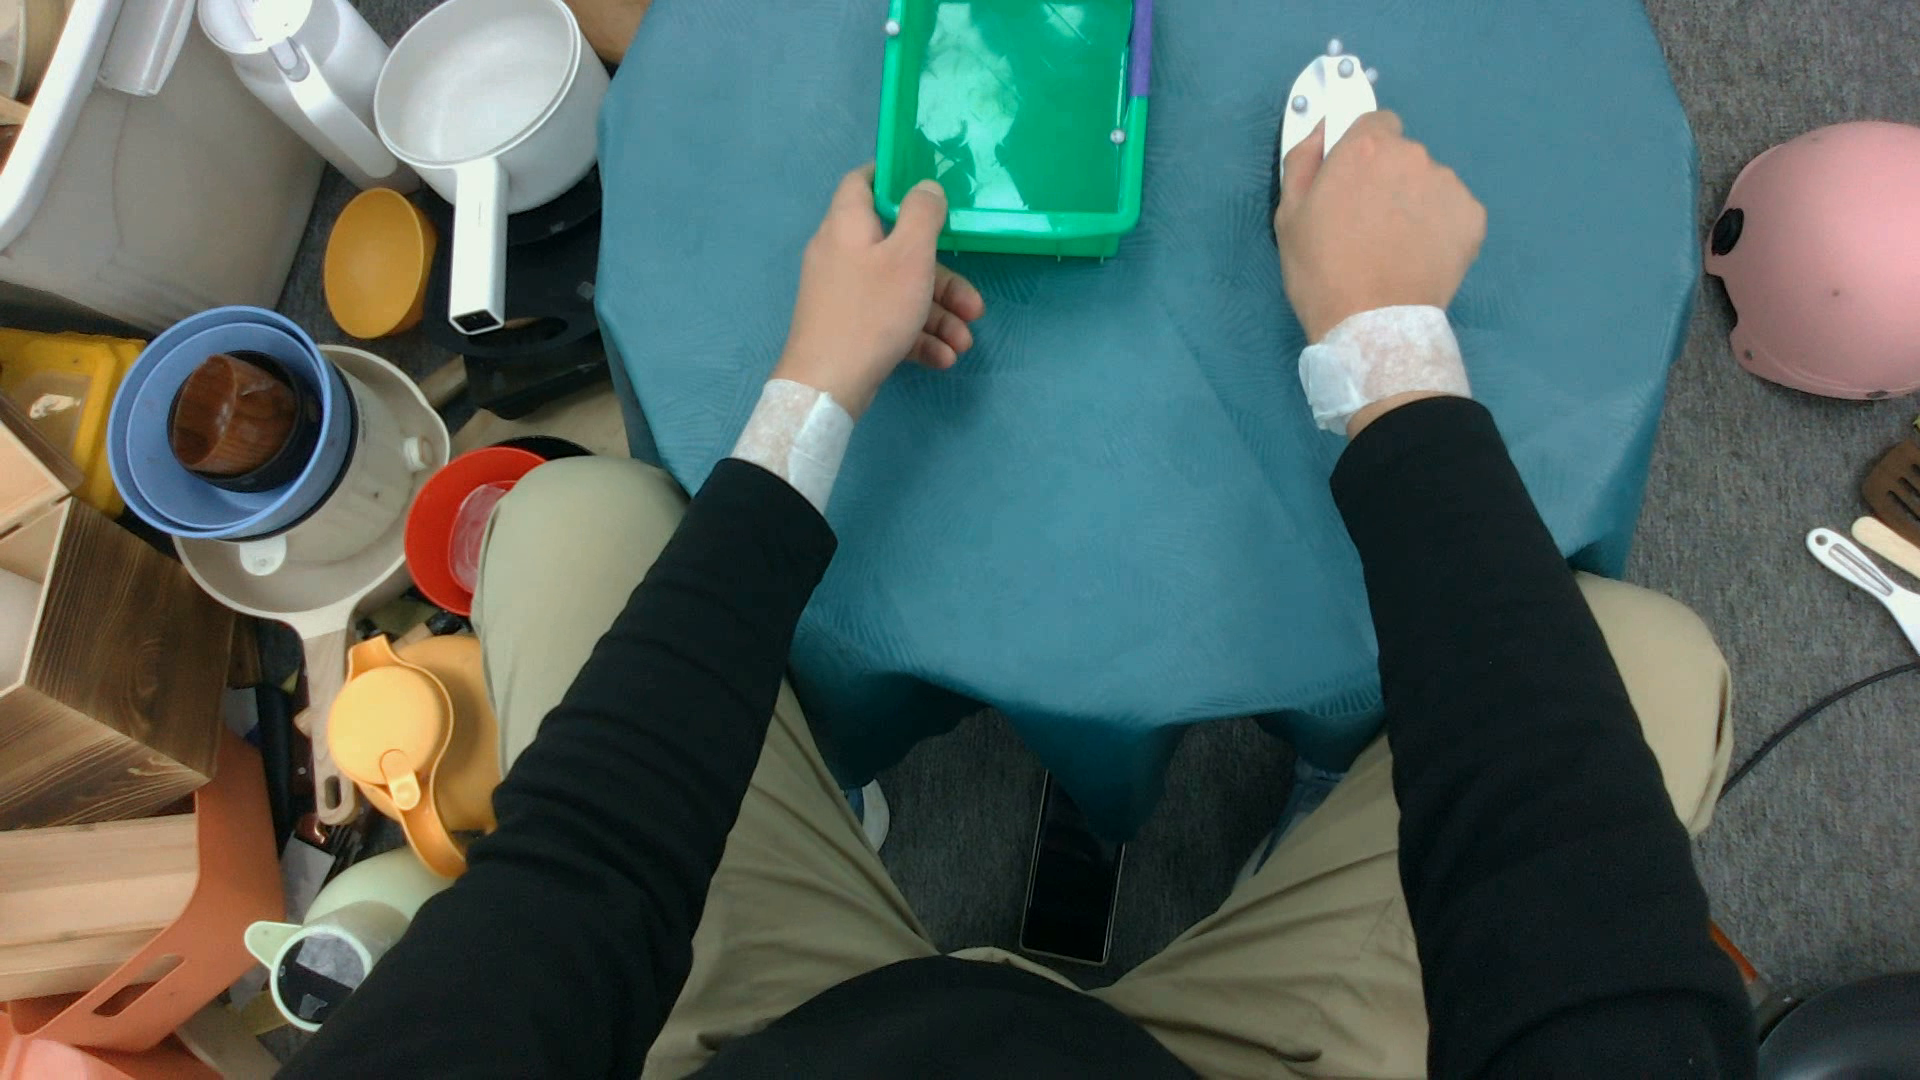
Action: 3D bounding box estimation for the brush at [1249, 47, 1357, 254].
[{"bbox_3d":[0.184,-0.210,0.722,0.050,0.072,0.099,7,78,2],"label":"brush"}]

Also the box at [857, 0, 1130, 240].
[{"bbox_3d":[0.020,-0.262,0.747,0.138,0.065,0.211,2,78,1],"label":"box"}]
